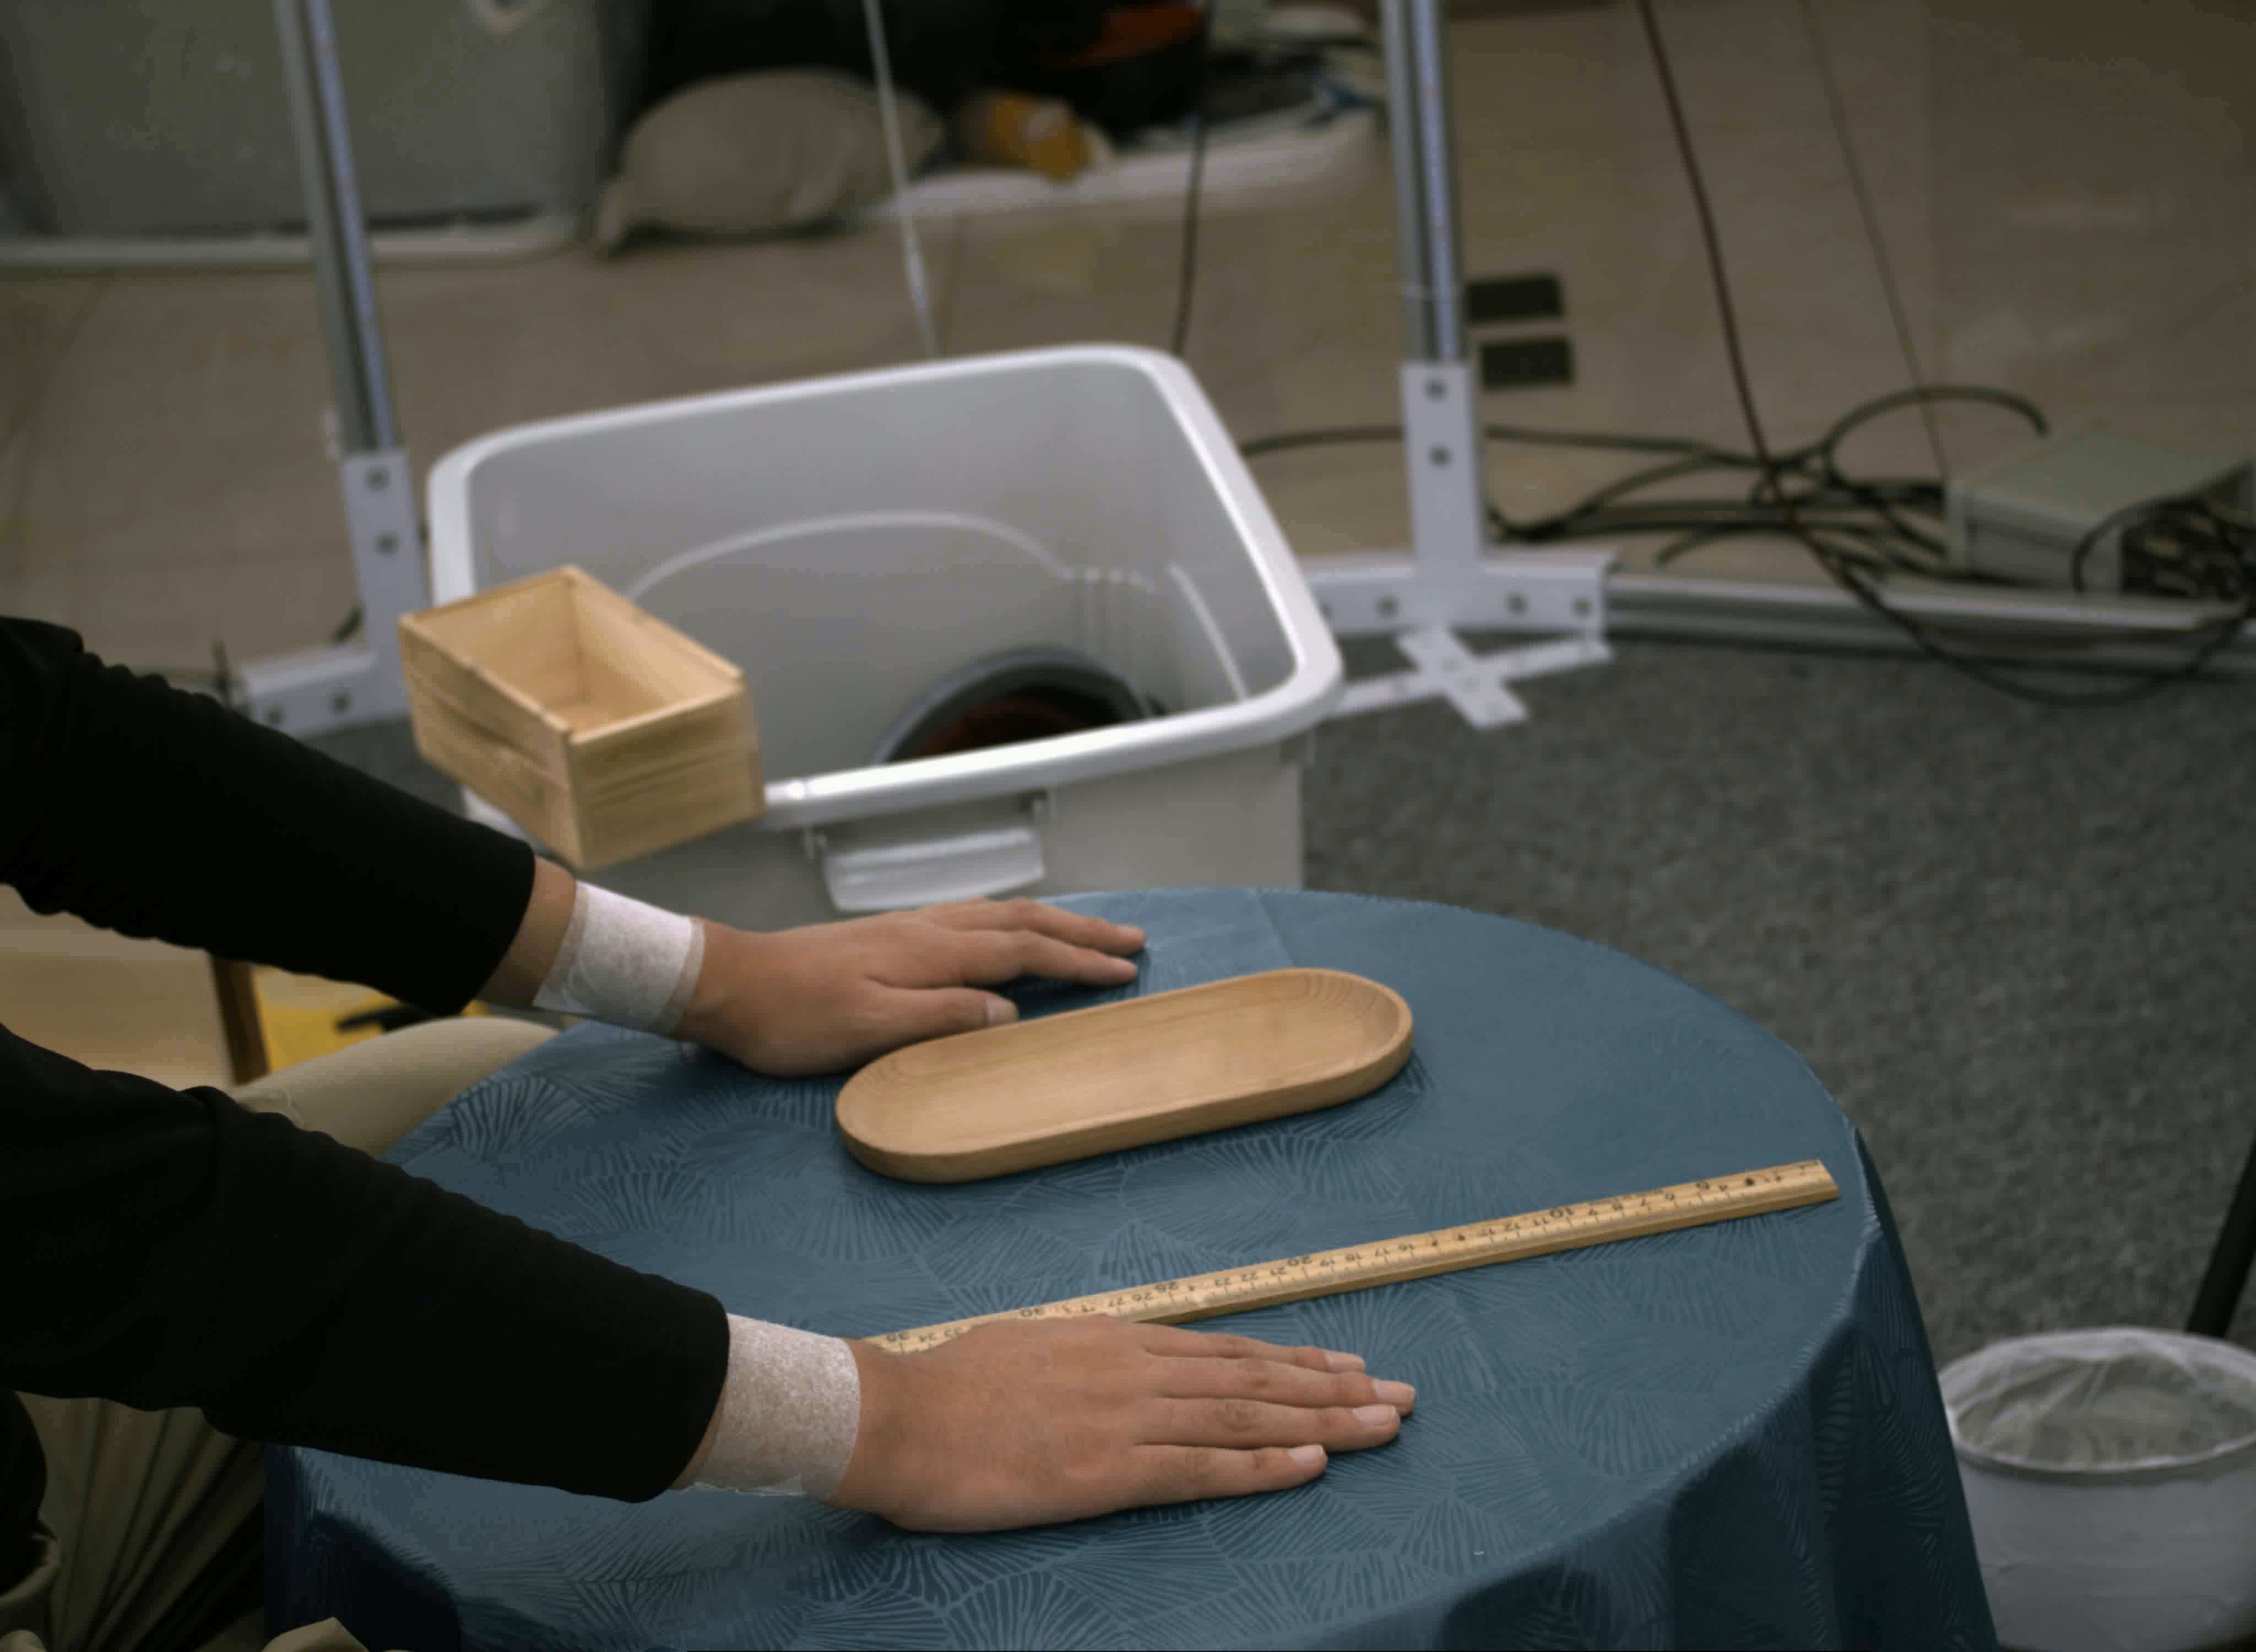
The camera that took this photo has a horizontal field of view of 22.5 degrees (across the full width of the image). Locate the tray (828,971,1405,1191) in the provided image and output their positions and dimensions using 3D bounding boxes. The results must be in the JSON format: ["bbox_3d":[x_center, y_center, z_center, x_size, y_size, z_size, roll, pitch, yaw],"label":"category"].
[{"bbox_3d":[-0.004,0.100,2.214,0.230,0.020,0.100,-14,24,-11],"label":"tray"}]

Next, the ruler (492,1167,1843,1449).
[{"bbox_3d":[0.016,0.173,2.065,0.499,0.006,0.026,-10,23,-7],"label":"ruler"}]
